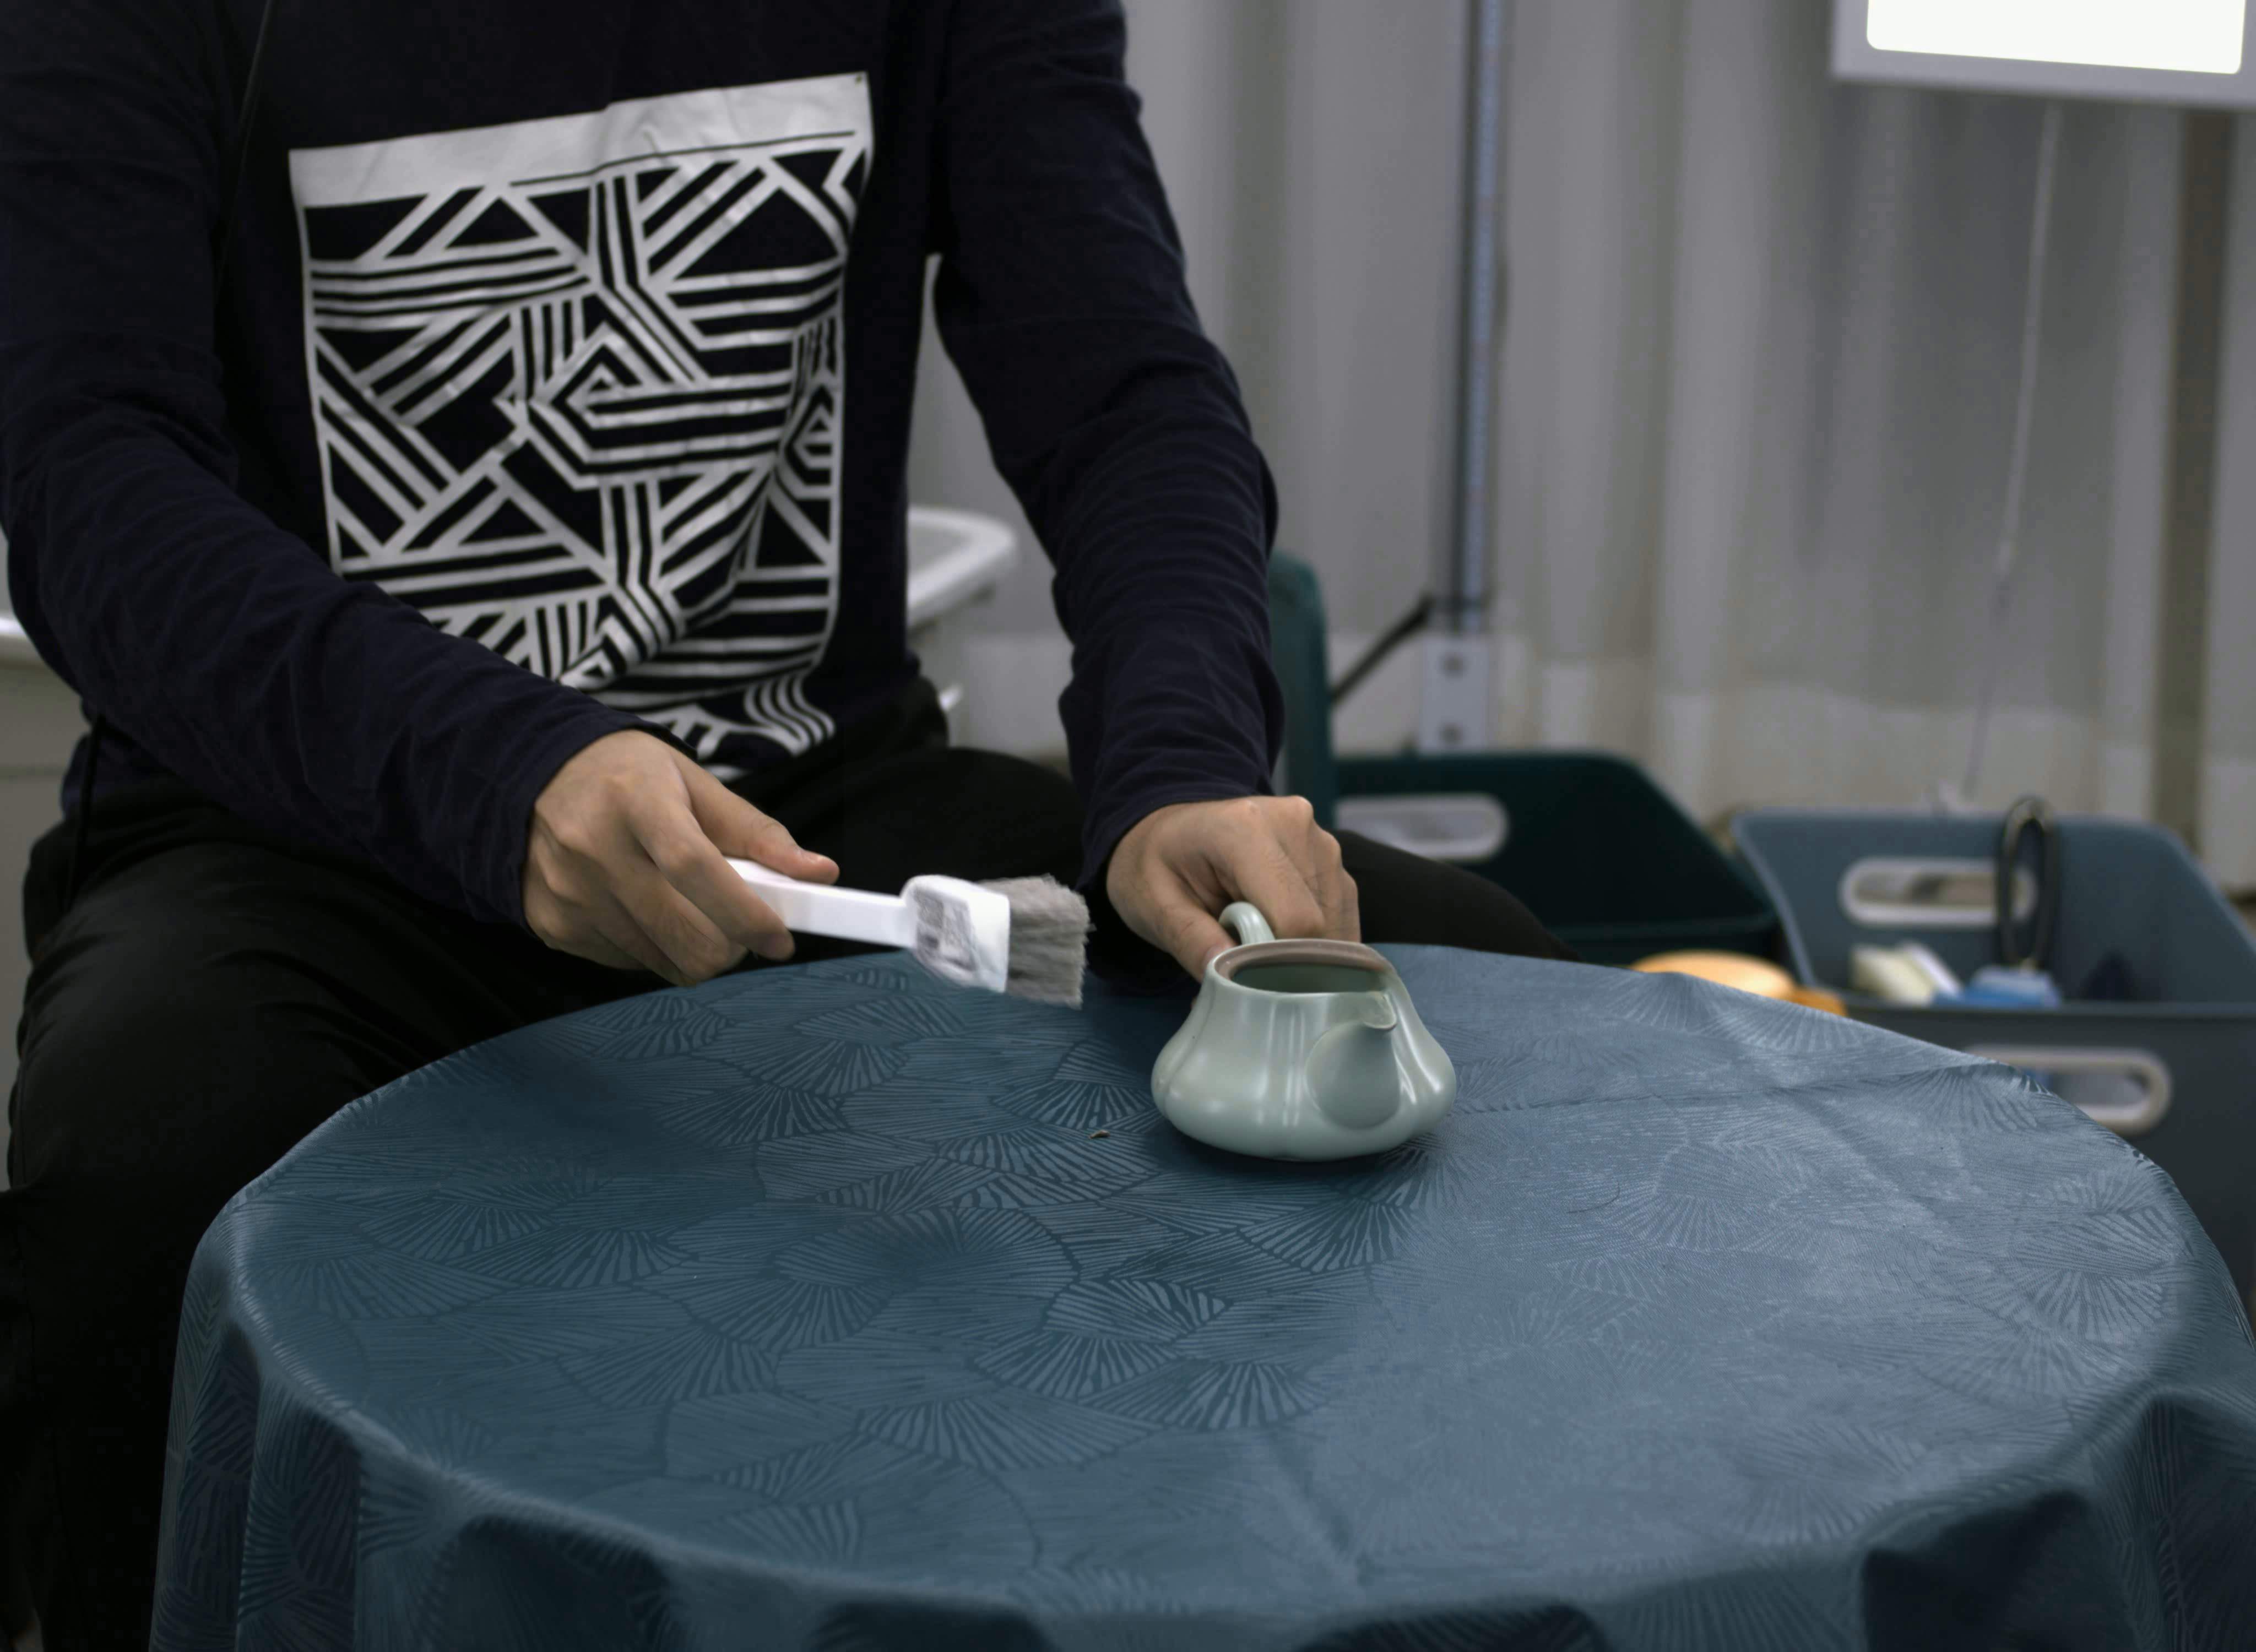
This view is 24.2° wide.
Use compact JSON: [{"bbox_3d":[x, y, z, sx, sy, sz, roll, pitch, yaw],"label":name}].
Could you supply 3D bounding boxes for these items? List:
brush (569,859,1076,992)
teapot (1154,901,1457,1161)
[{"bbox_3d":[-0.094,0.027,1.634,0.050,0.034,0.241,-2,4,-37],"label":"brush"},{"bbox_3d":[0.054,0.068,1.673,0.096,0.062,0.135,-9,20,-21],"label":"teapot"}]
